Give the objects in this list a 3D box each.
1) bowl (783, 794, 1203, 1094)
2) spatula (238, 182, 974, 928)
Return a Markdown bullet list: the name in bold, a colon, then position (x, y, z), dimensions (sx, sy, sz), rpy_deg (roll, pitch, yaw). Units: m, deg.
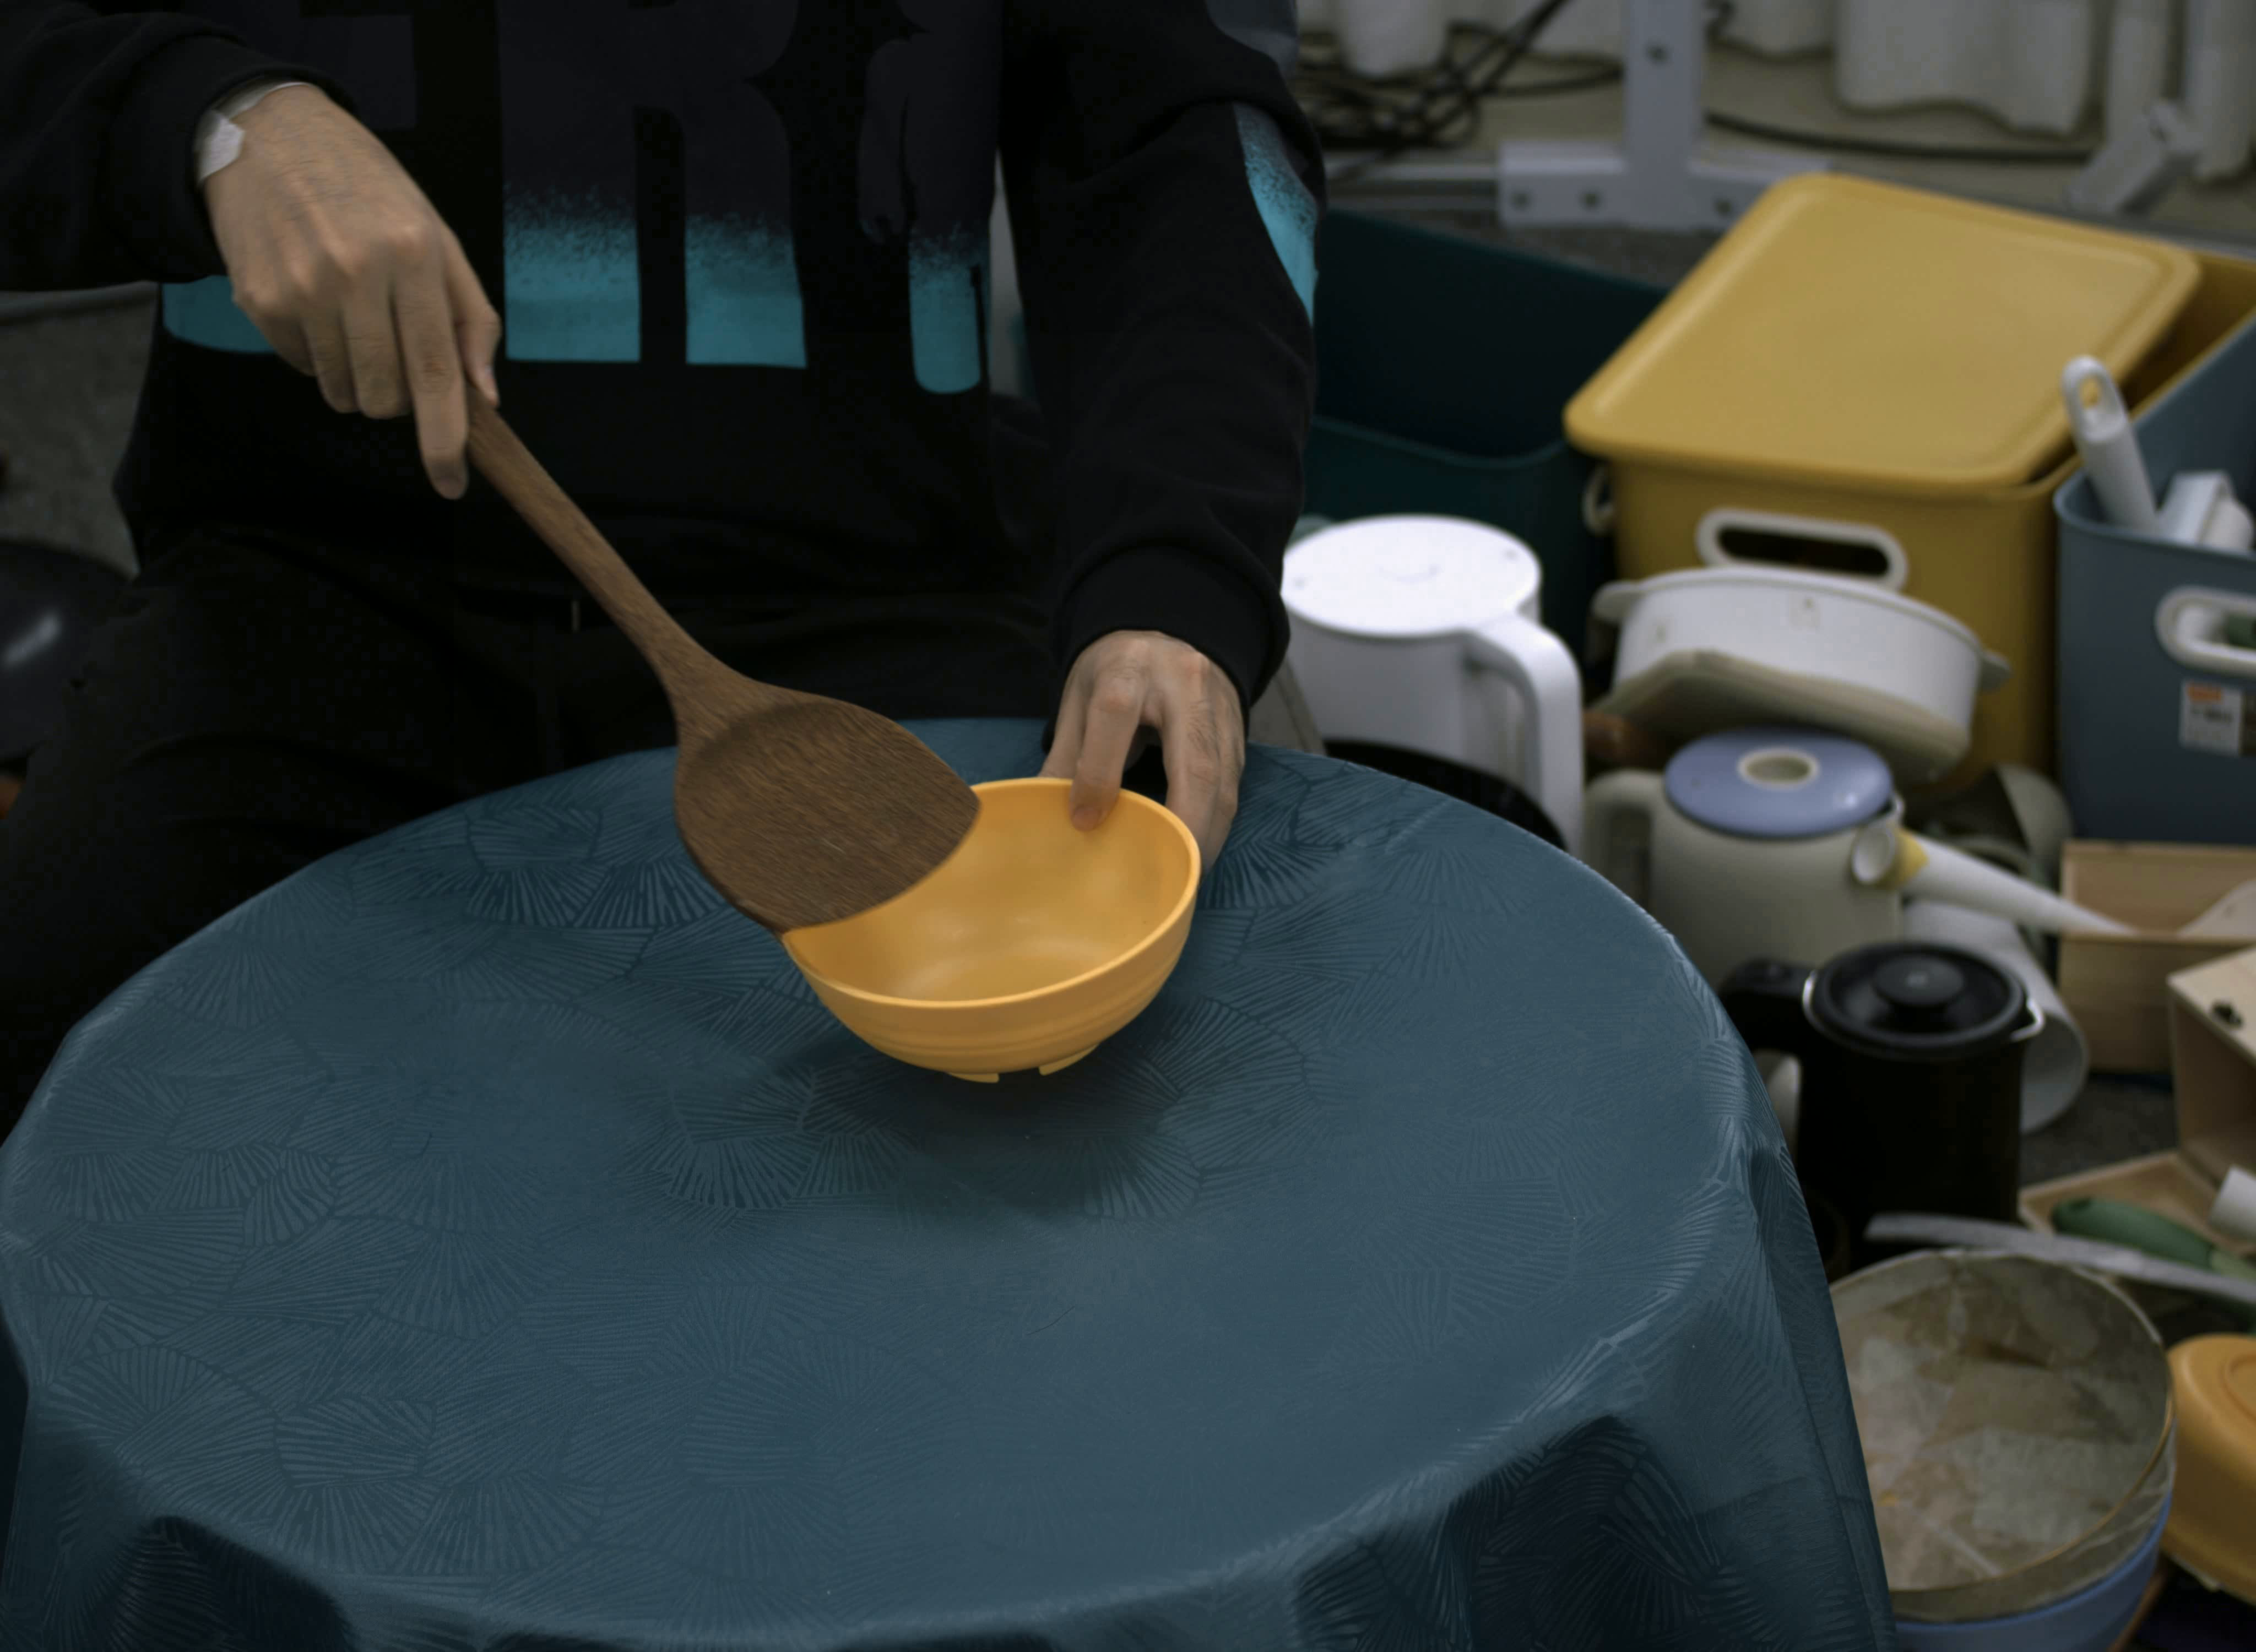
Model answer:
- **bowl**: position (-0.043, 0.049, 1.924), dimensions (0.144, 0.059, 0.147), rpy_deg (-5, 28, 3)
- **spatula**: position (-0.198, -0.104, 1.953), dimensions (0.097, 0.015, 0.388), rpy_deg (-29, 61, -26)
